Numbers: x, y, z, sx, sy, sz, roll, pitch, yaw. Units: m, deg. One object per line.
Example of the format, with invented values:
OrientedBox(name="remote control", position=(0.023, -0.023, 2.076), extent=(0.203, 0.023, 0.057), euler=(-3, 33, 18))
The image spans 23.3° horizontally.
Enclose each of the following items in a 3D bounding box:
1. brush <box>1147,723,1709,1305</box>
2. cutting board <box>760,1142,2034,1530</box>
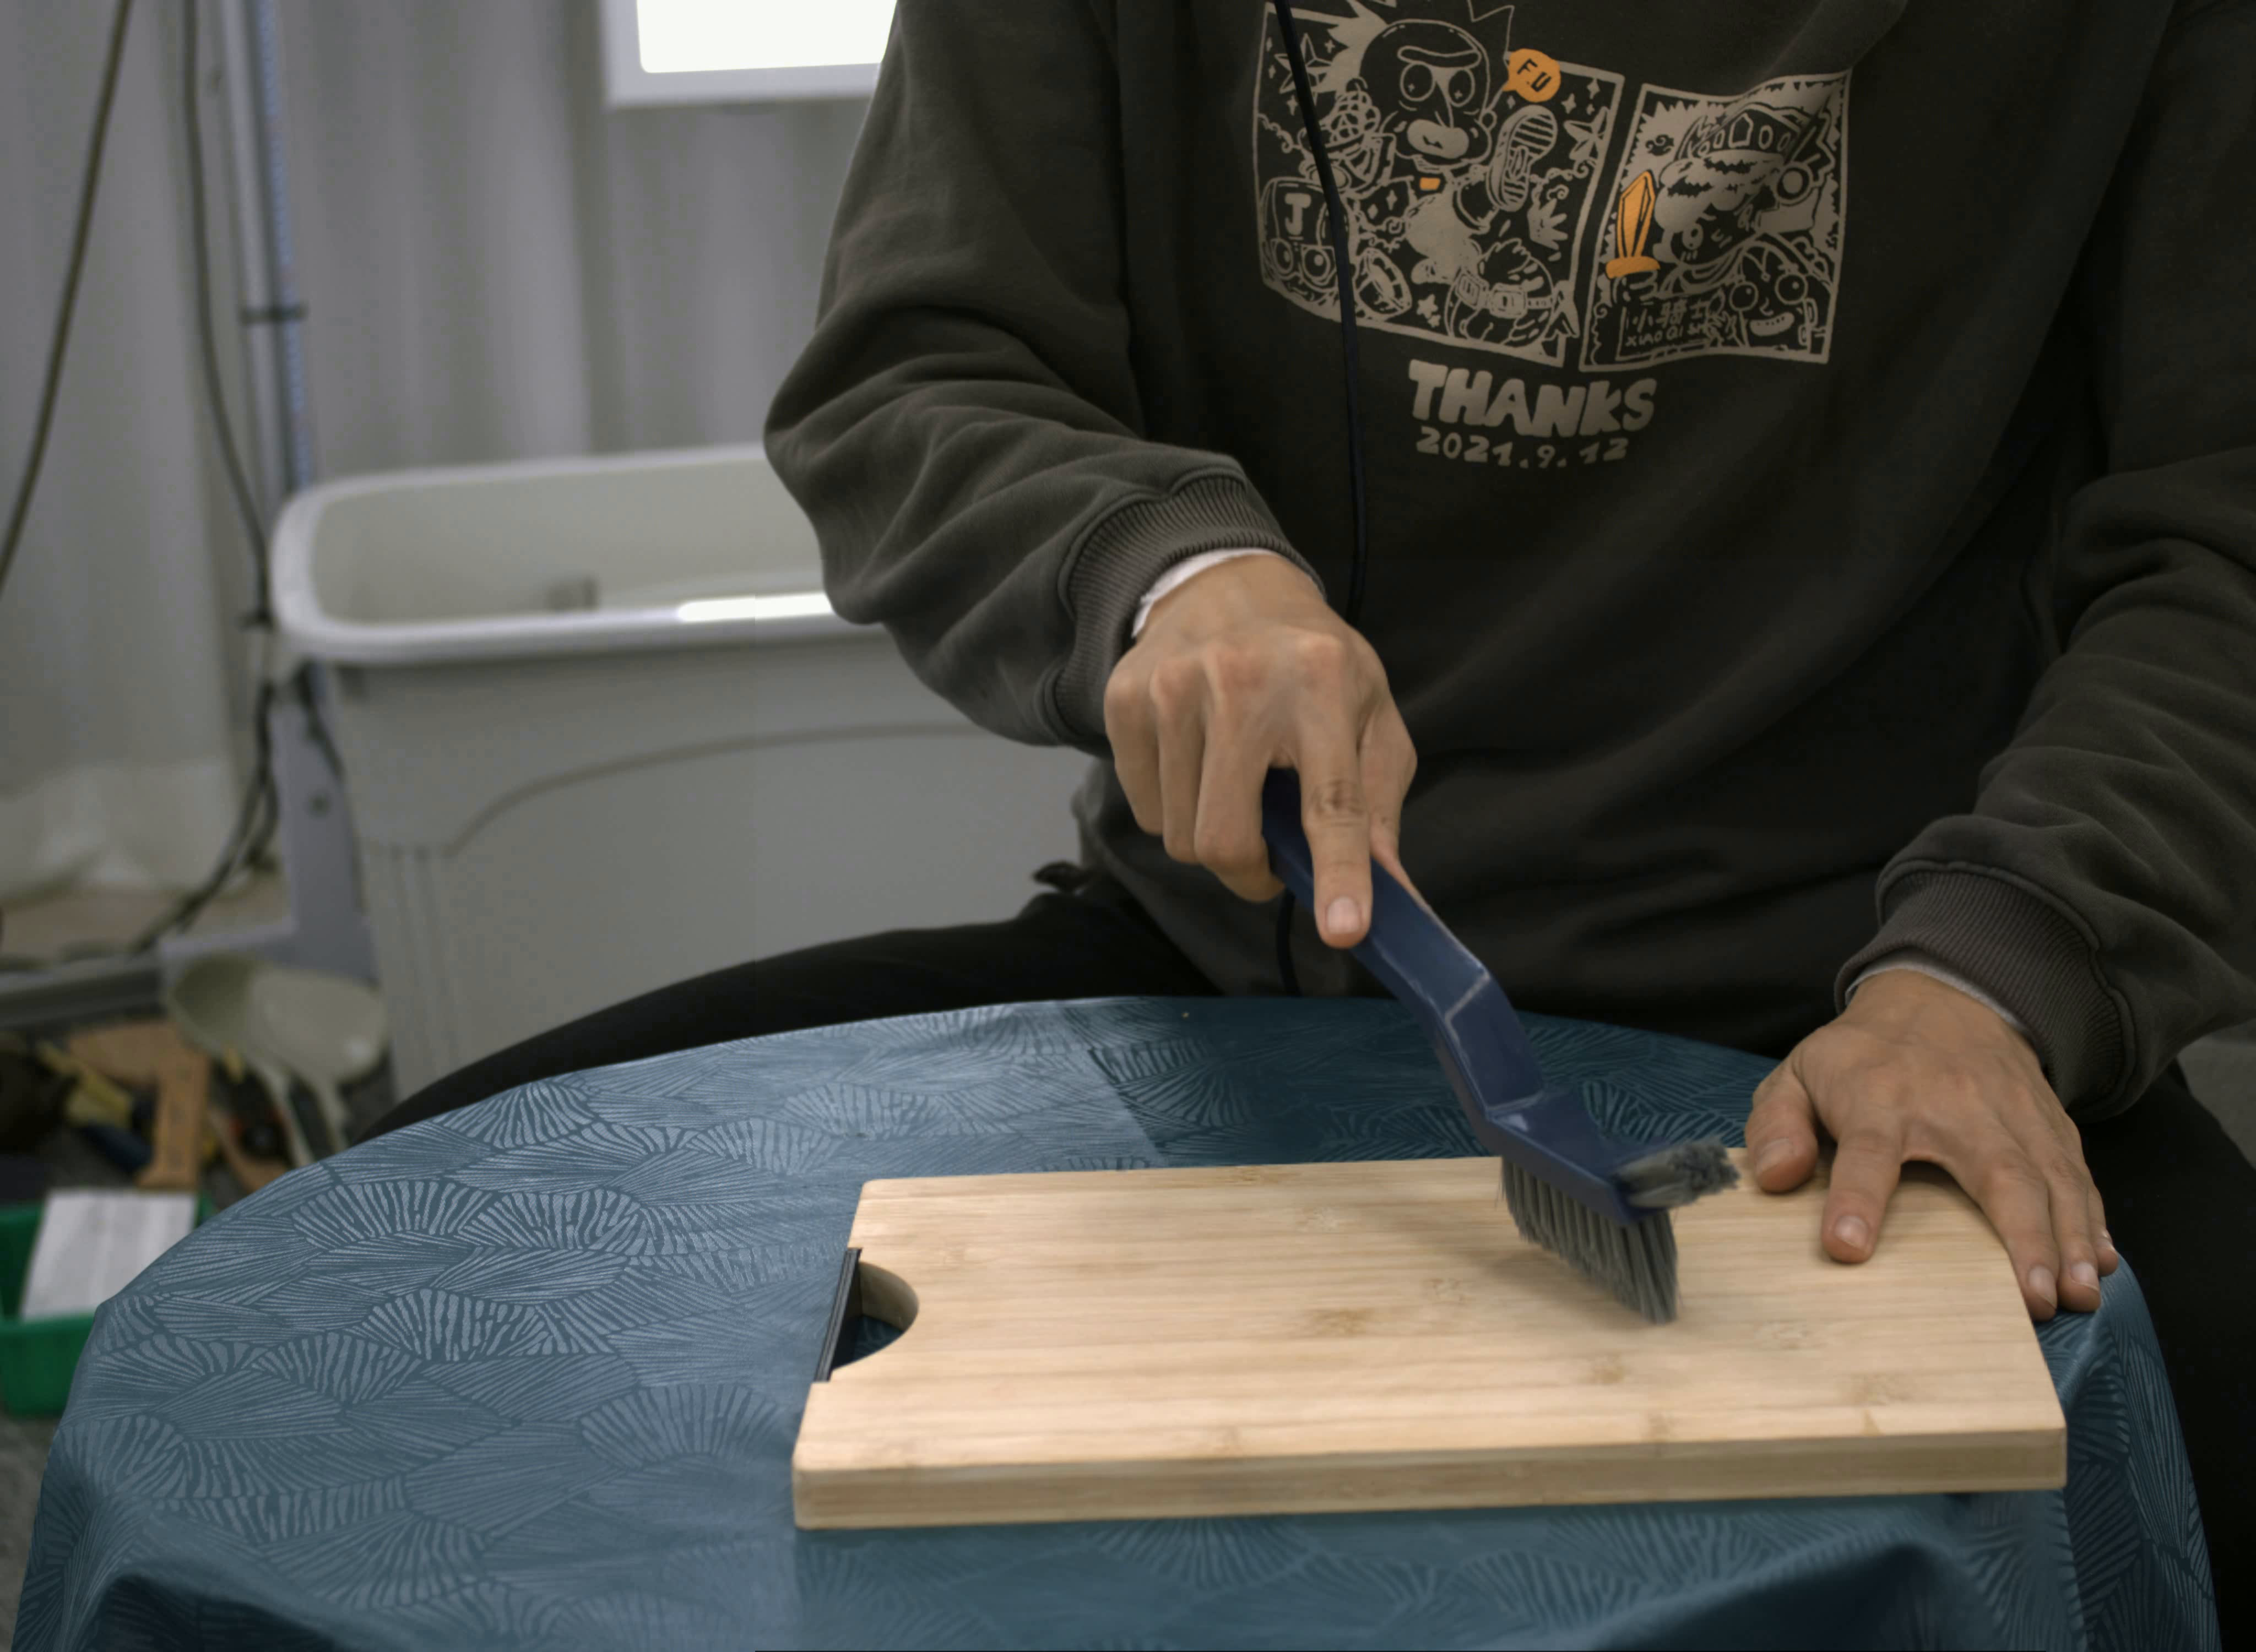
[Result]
OrientedBox(name="brush", position=(0.086, 0.037, 1.602), extent=(0.033, 0.094, 0.277), euler=(-20, 48, -22))
OrientedBox(name="cutting board", position=(0.077, 0.144, 1.568), extent=(0.347, 0.023, 0.252), euler=(-2, 14, 2))
